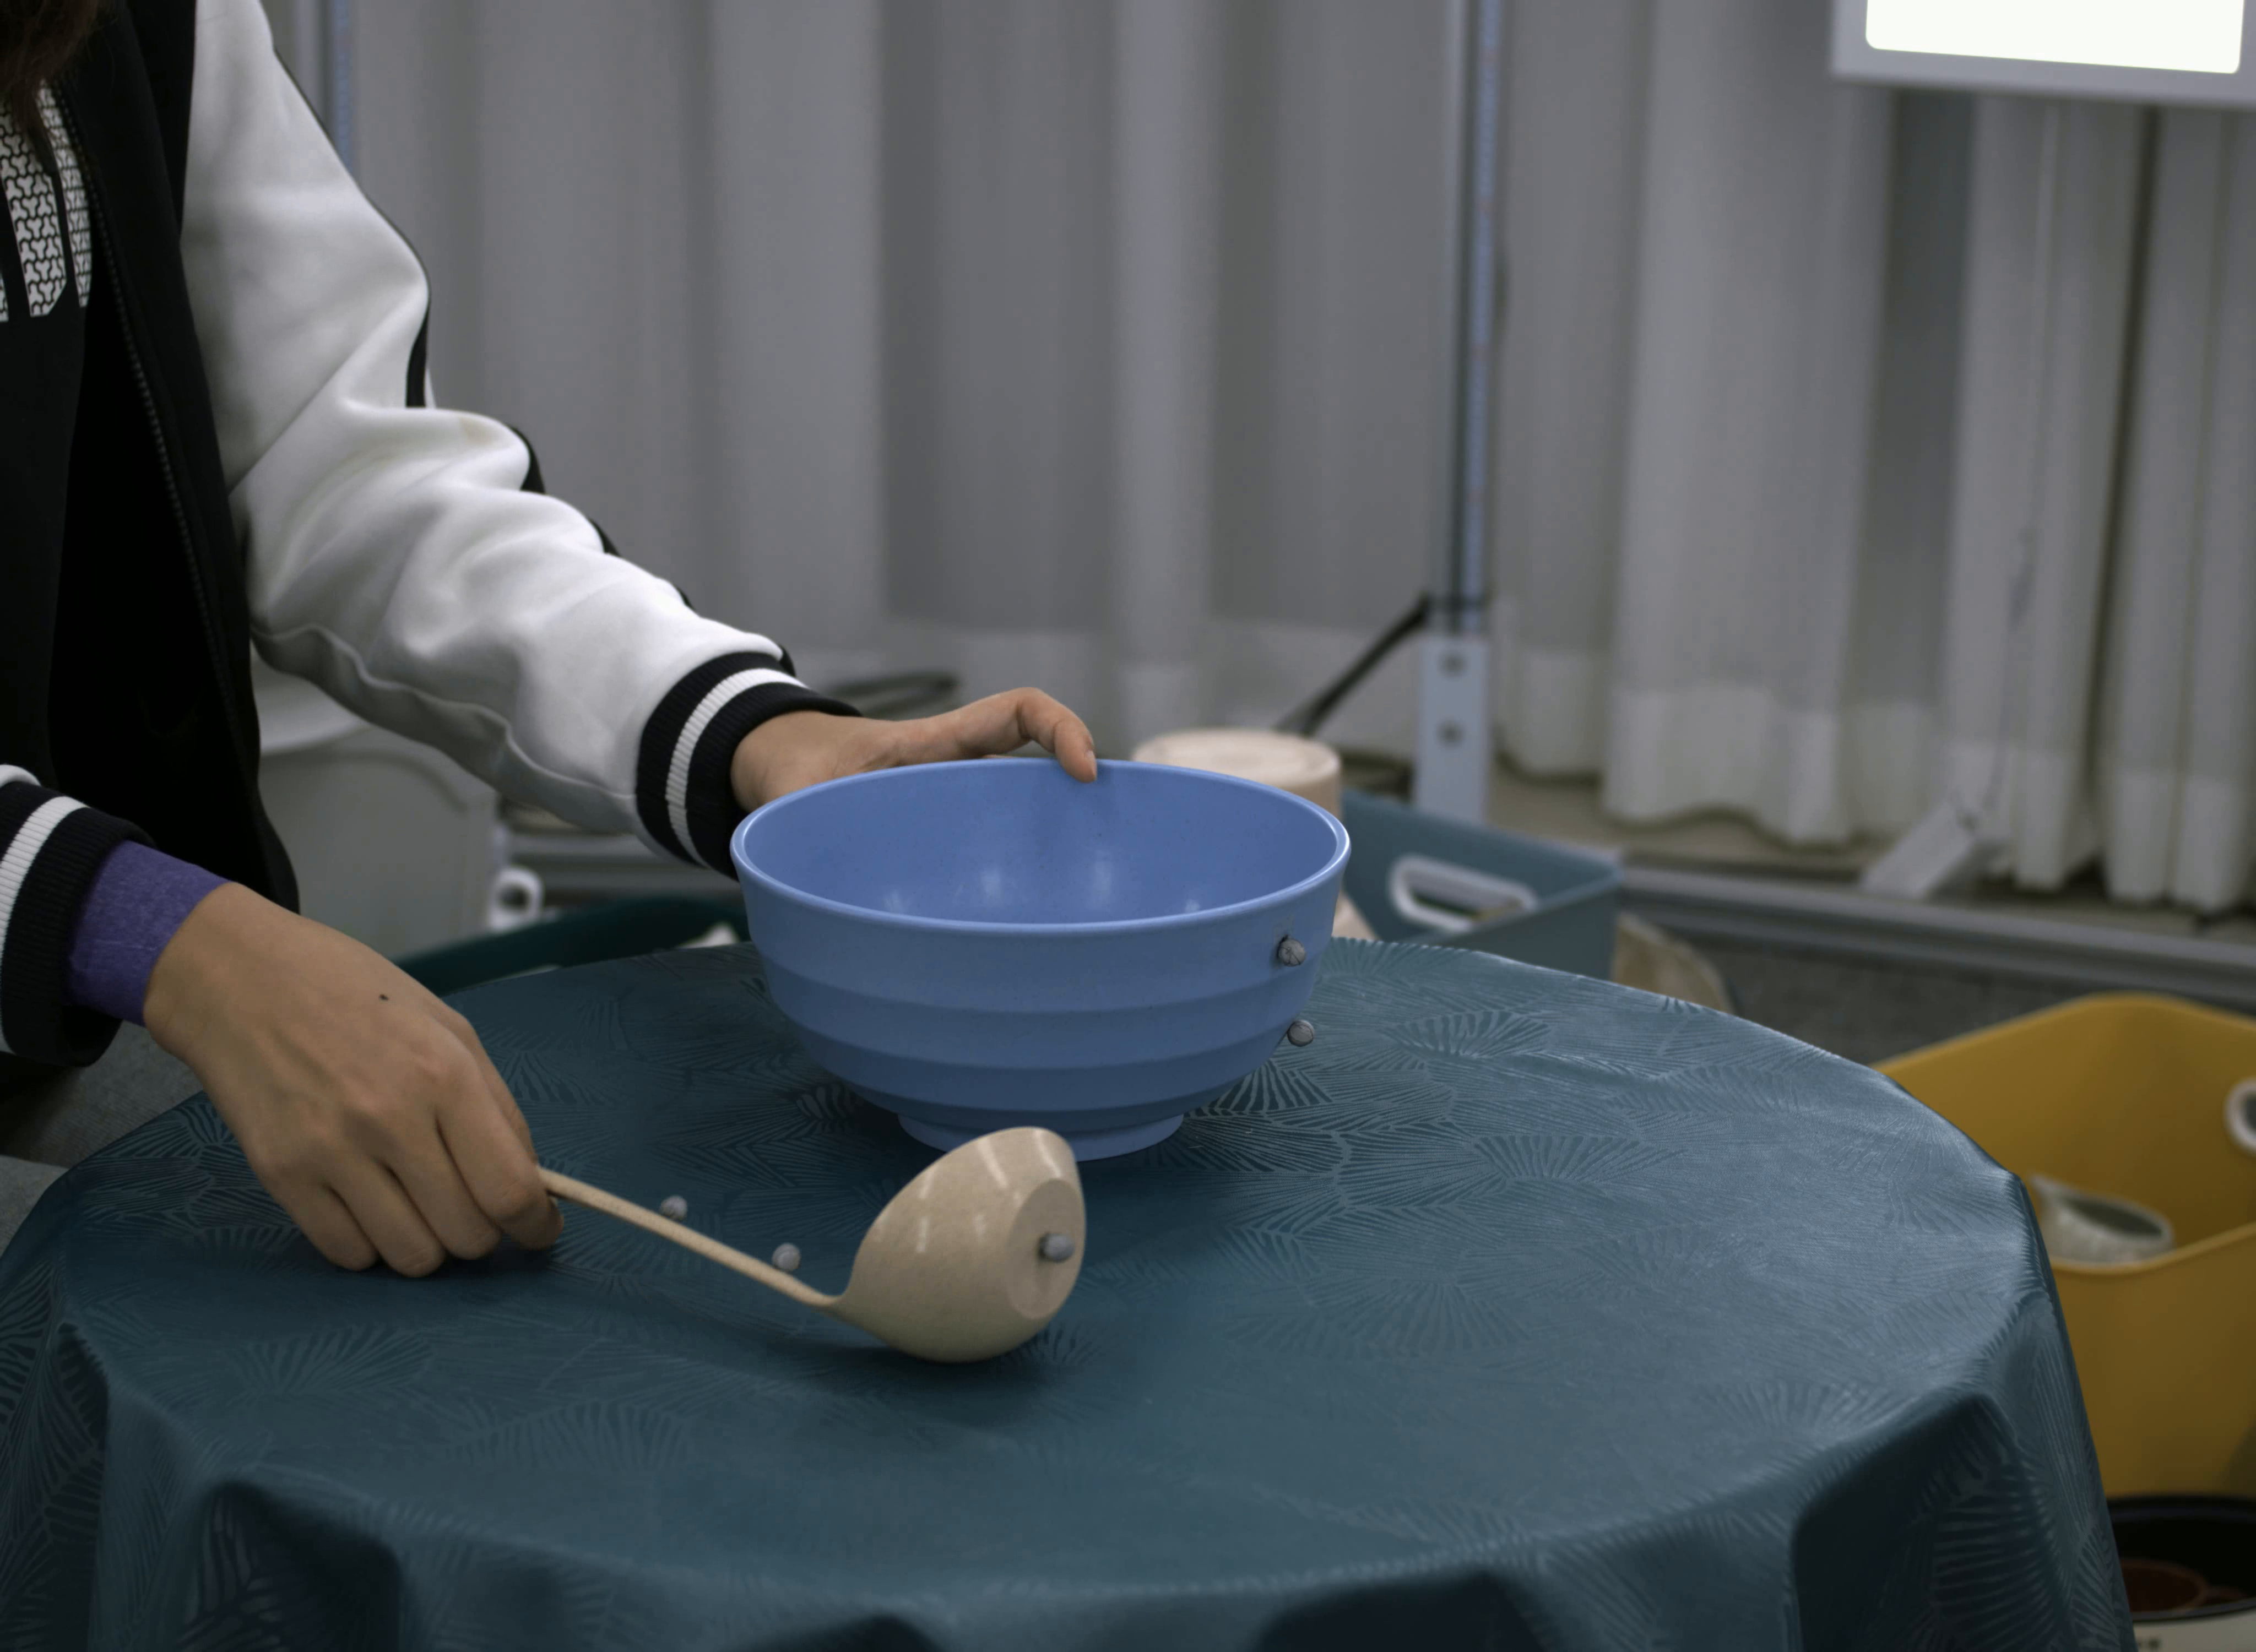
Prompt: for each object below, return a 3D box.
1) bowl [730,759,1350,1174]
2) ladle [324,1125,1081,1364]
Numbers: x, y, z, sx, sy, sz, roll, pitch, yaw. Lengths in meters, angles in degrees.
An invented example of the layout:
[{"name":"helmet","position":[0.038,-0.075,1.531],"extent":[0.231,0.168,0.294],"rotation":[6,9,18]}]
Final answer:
[{"name":"bowl","position":[-0.027,0.051,1.676],"extent":[0.196,0.096,0.195],"rotation":[-1,17,1]},{"name":"ladle","position":[-0.126,0.094,1.524],"extent":[0.251,0.073,0.073],"rotation":[15,-10,32]}]
